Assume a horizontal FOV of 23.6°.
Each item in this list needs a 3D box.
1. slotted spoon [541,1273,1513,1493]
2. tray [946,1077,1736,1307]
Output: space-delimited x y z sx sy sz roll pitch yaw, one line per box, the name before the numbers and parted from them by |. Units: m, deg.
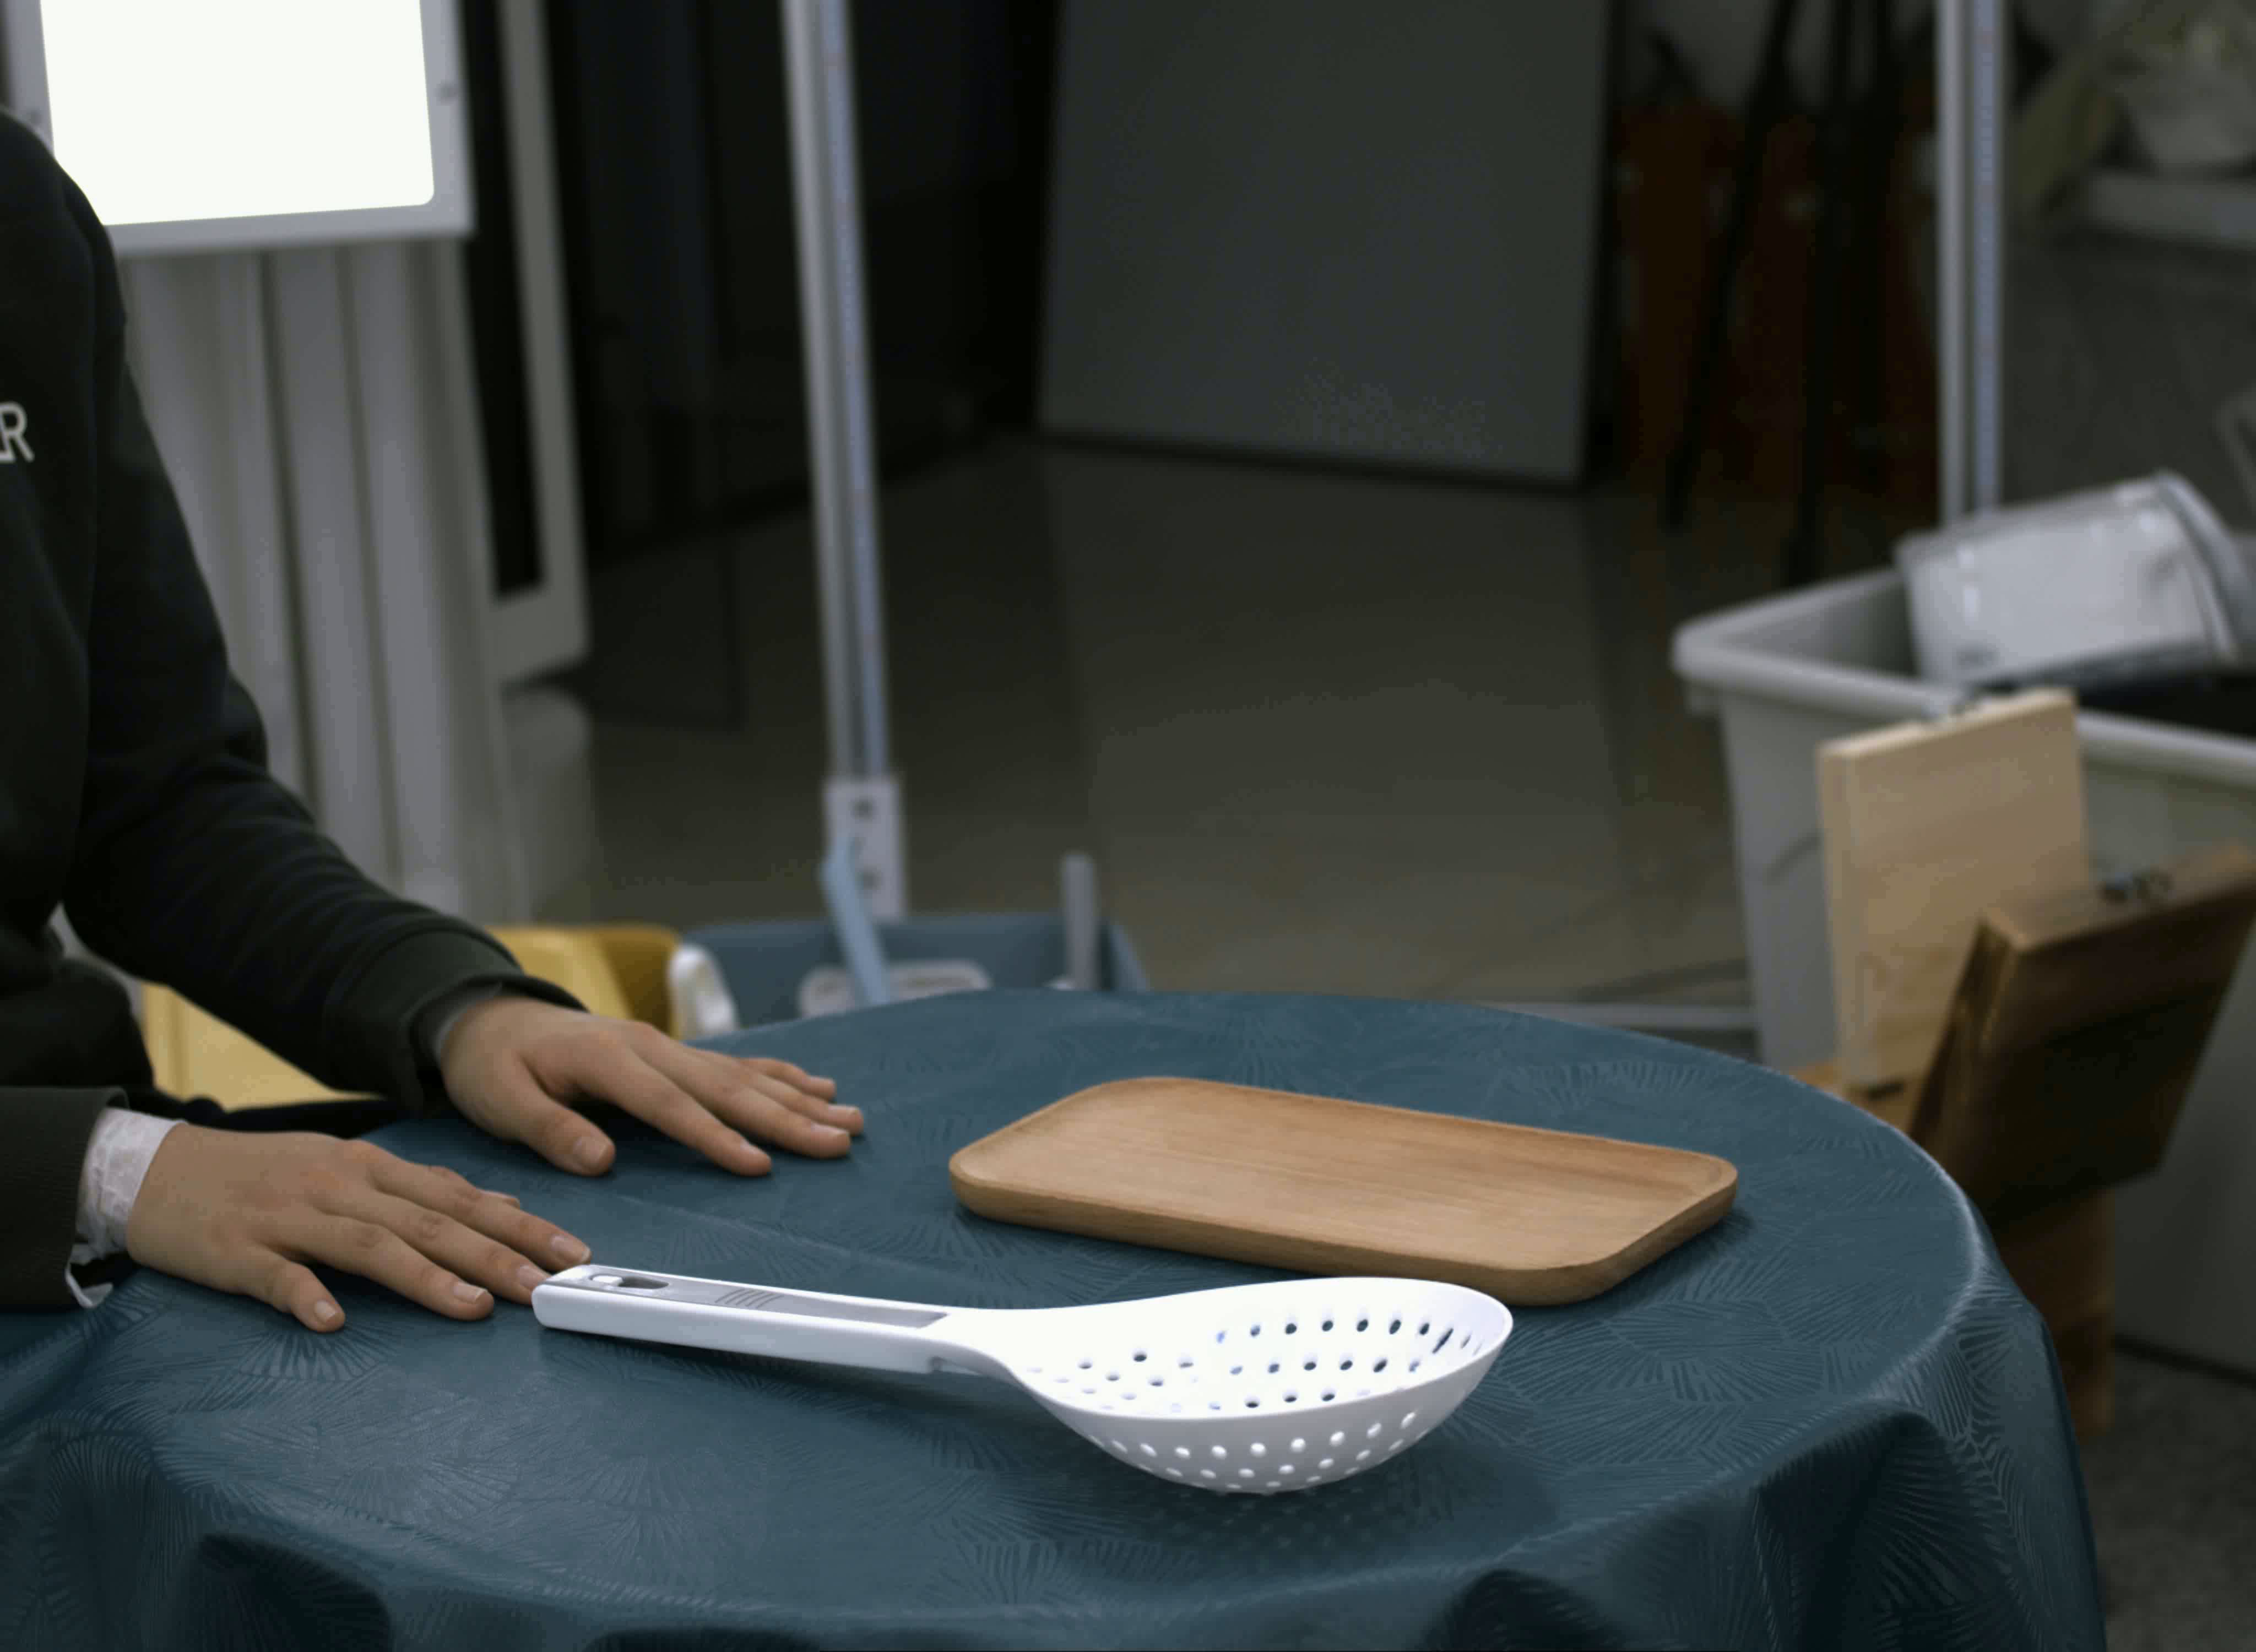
slotted spoon | -0.042 0.150 1.570 0.352 0.046 0.133 6 15 39
tray | 0.067 0.116 1.736 0.252 0.023 0.128 5 15 36
